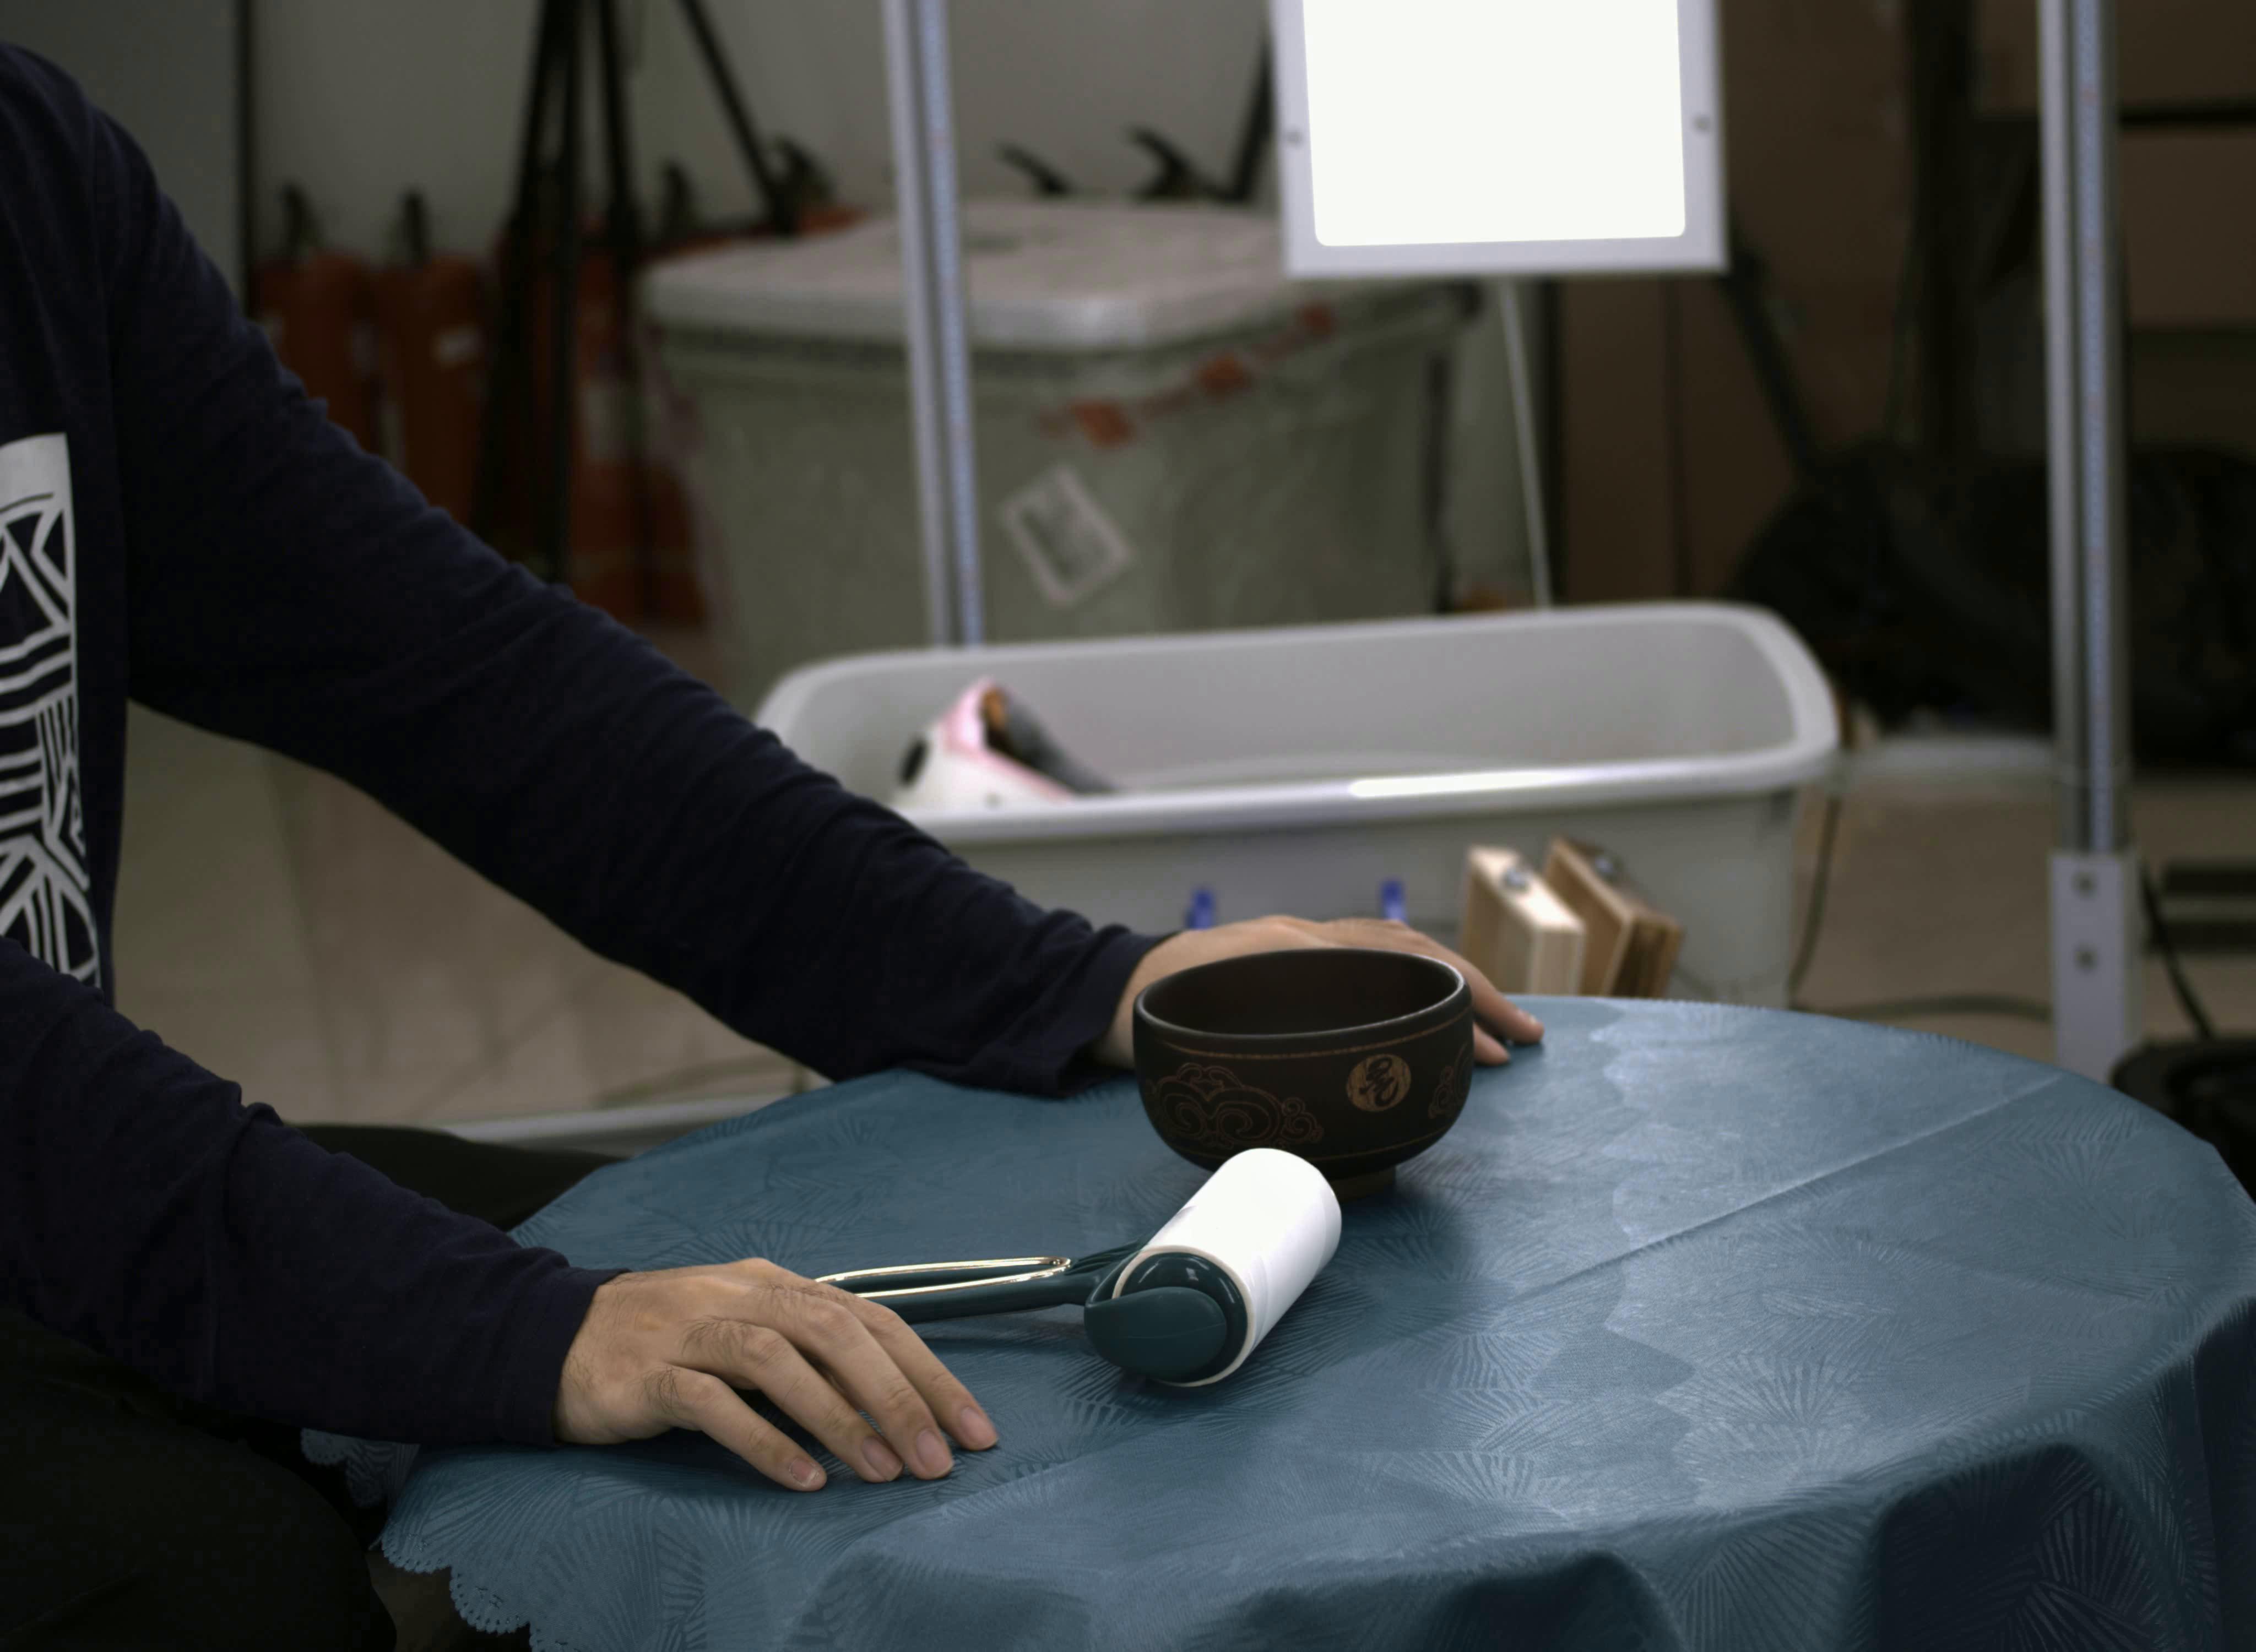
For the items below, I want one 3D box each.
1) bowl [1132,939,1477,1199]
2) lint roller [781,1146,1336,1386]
[{"bbox_3d":[0.063,0.087,1.889,0.118,0.070,0.118,-7,14,0],"label":"bowl"},{"bbox_3d":[-0.031,0.144,1.766,0.182,0.048,0.132,-5,14,21],"label":"lint roller"}]
